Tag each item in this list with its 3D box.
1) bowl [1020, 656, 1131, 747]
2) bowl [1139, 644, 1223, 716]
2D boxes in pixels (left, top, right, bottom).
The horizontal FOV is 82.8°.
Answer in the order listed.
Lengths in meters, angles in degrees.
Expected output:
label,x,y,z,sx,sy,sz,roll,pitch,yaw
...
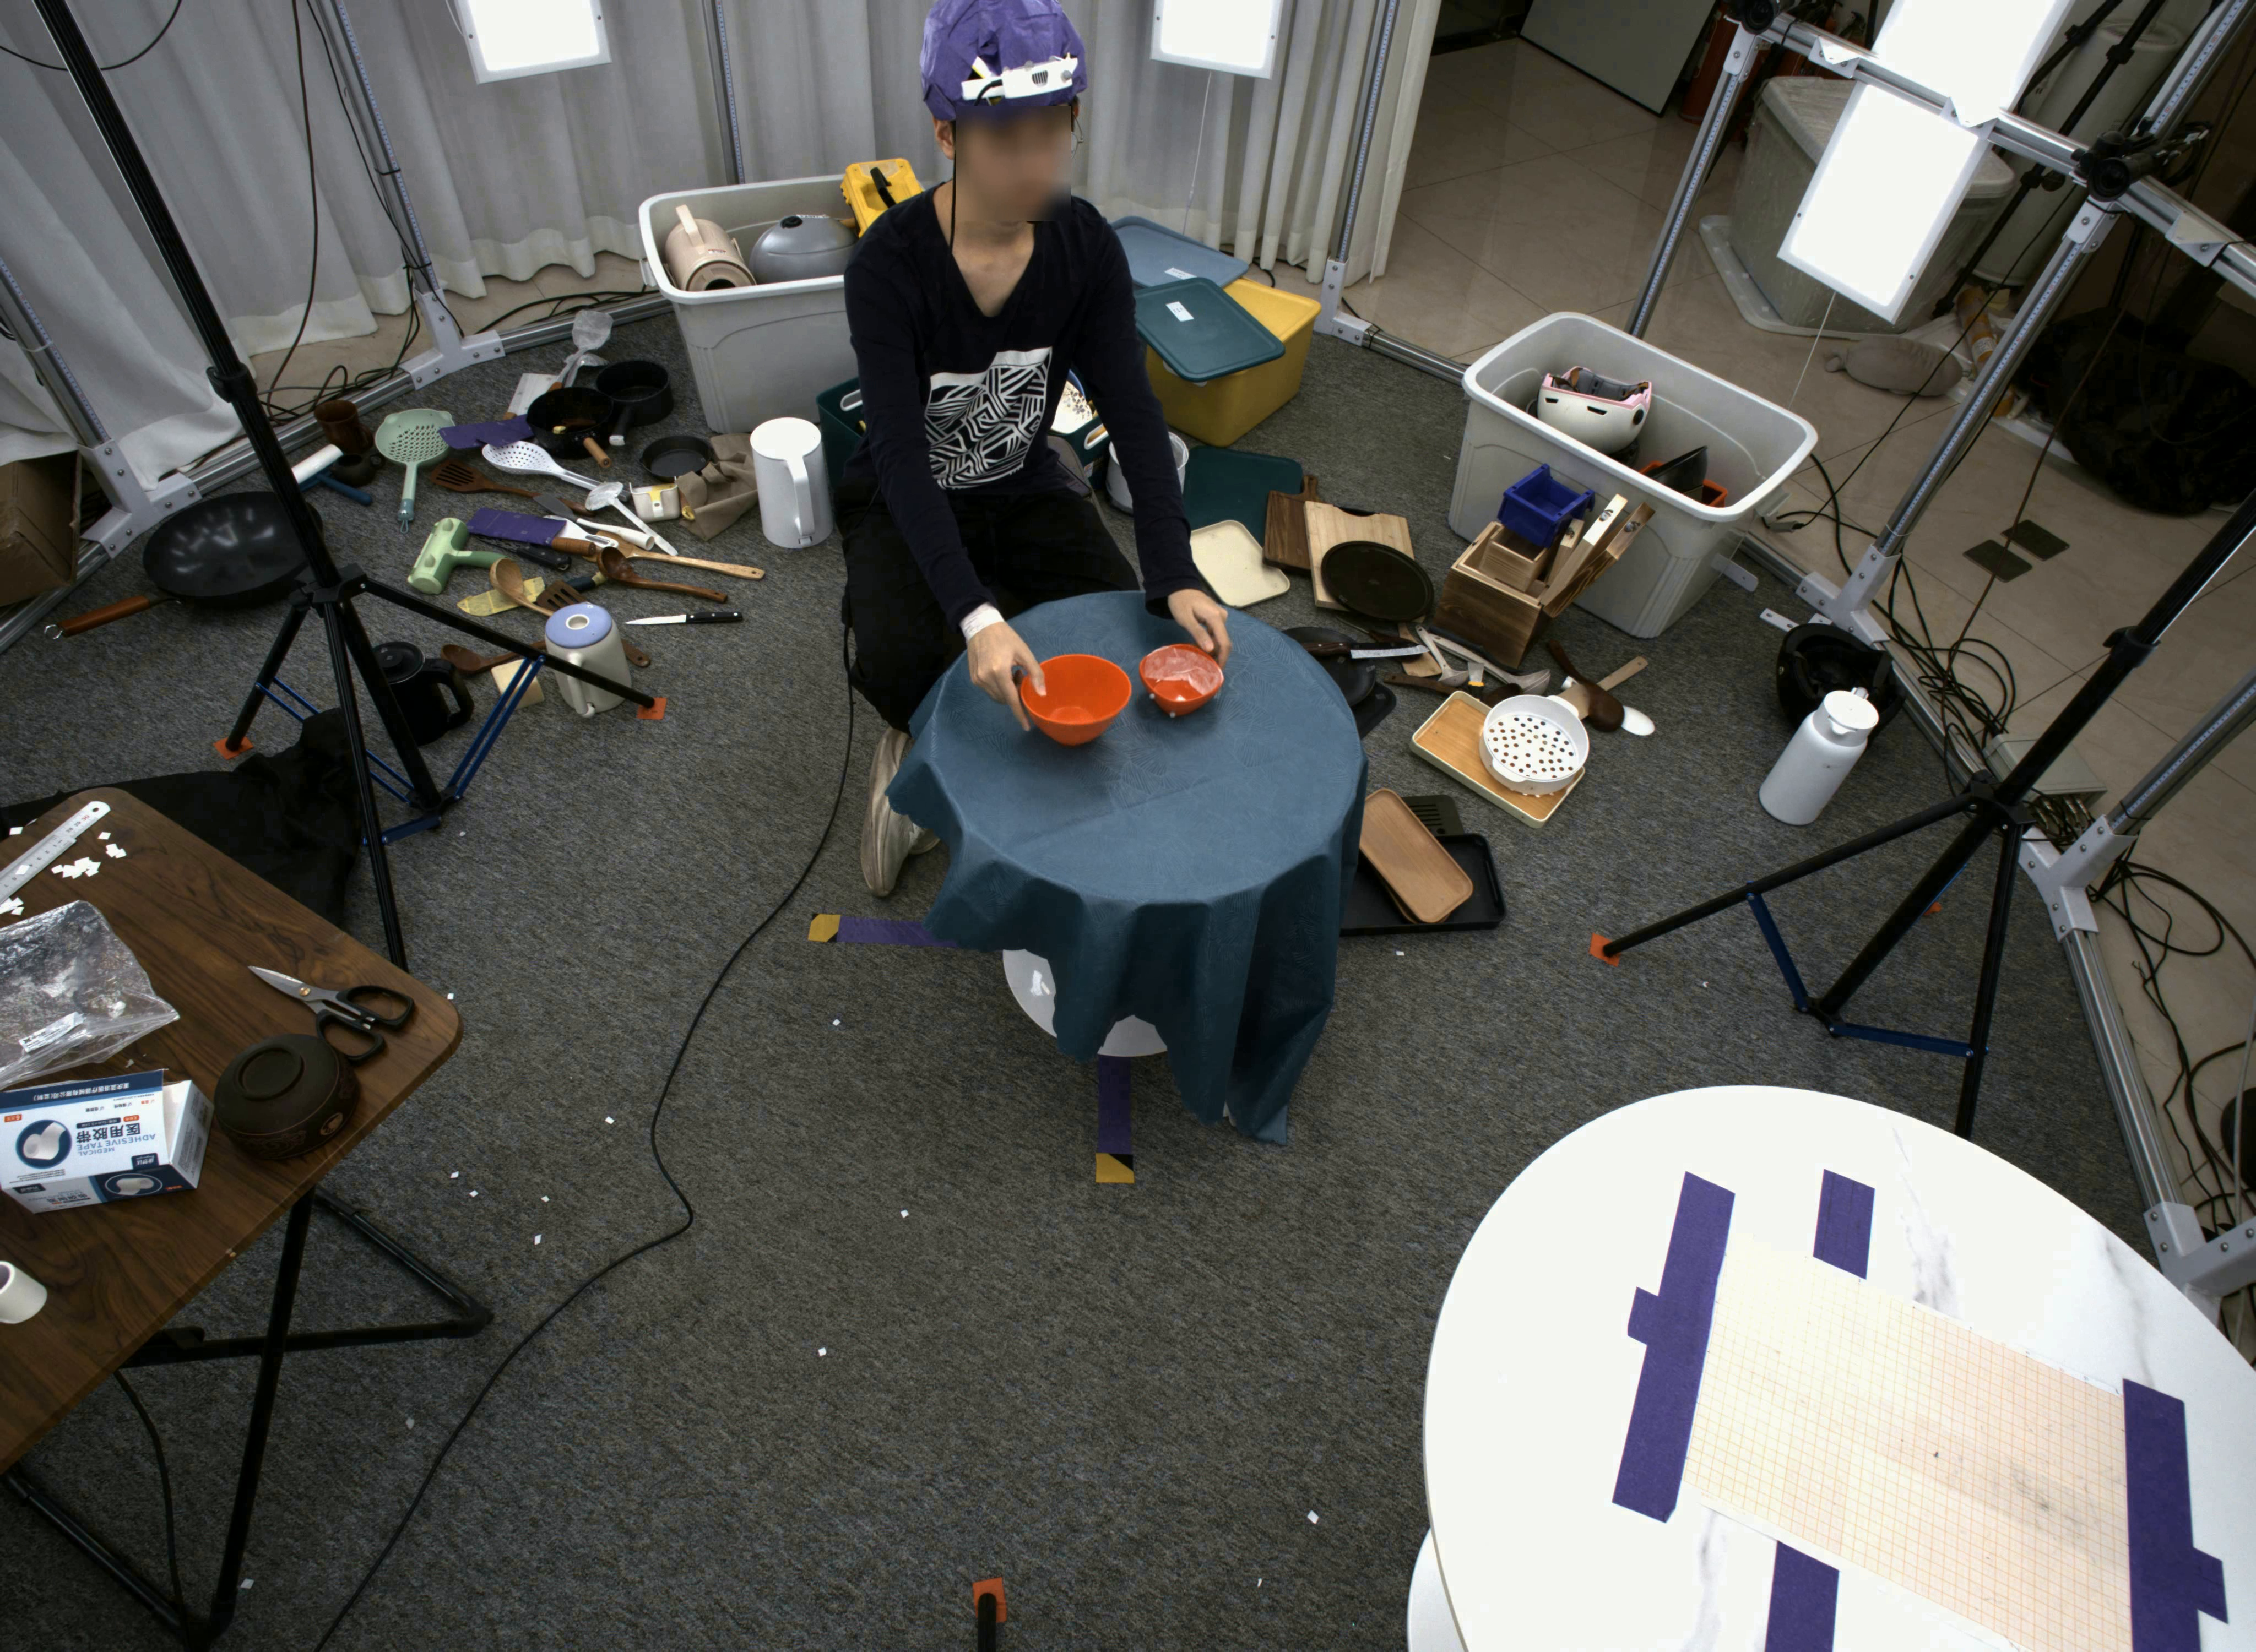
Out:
label,x,y,z,sx,sy,sz,roll,pitch,yaw
bowl,-0.072,-0.155,1.732,0.148,0.102,0.151,2,53,-3
bowl,0.073,-0.201,1.814,0.119,0.050,0.122,1,49,-1
